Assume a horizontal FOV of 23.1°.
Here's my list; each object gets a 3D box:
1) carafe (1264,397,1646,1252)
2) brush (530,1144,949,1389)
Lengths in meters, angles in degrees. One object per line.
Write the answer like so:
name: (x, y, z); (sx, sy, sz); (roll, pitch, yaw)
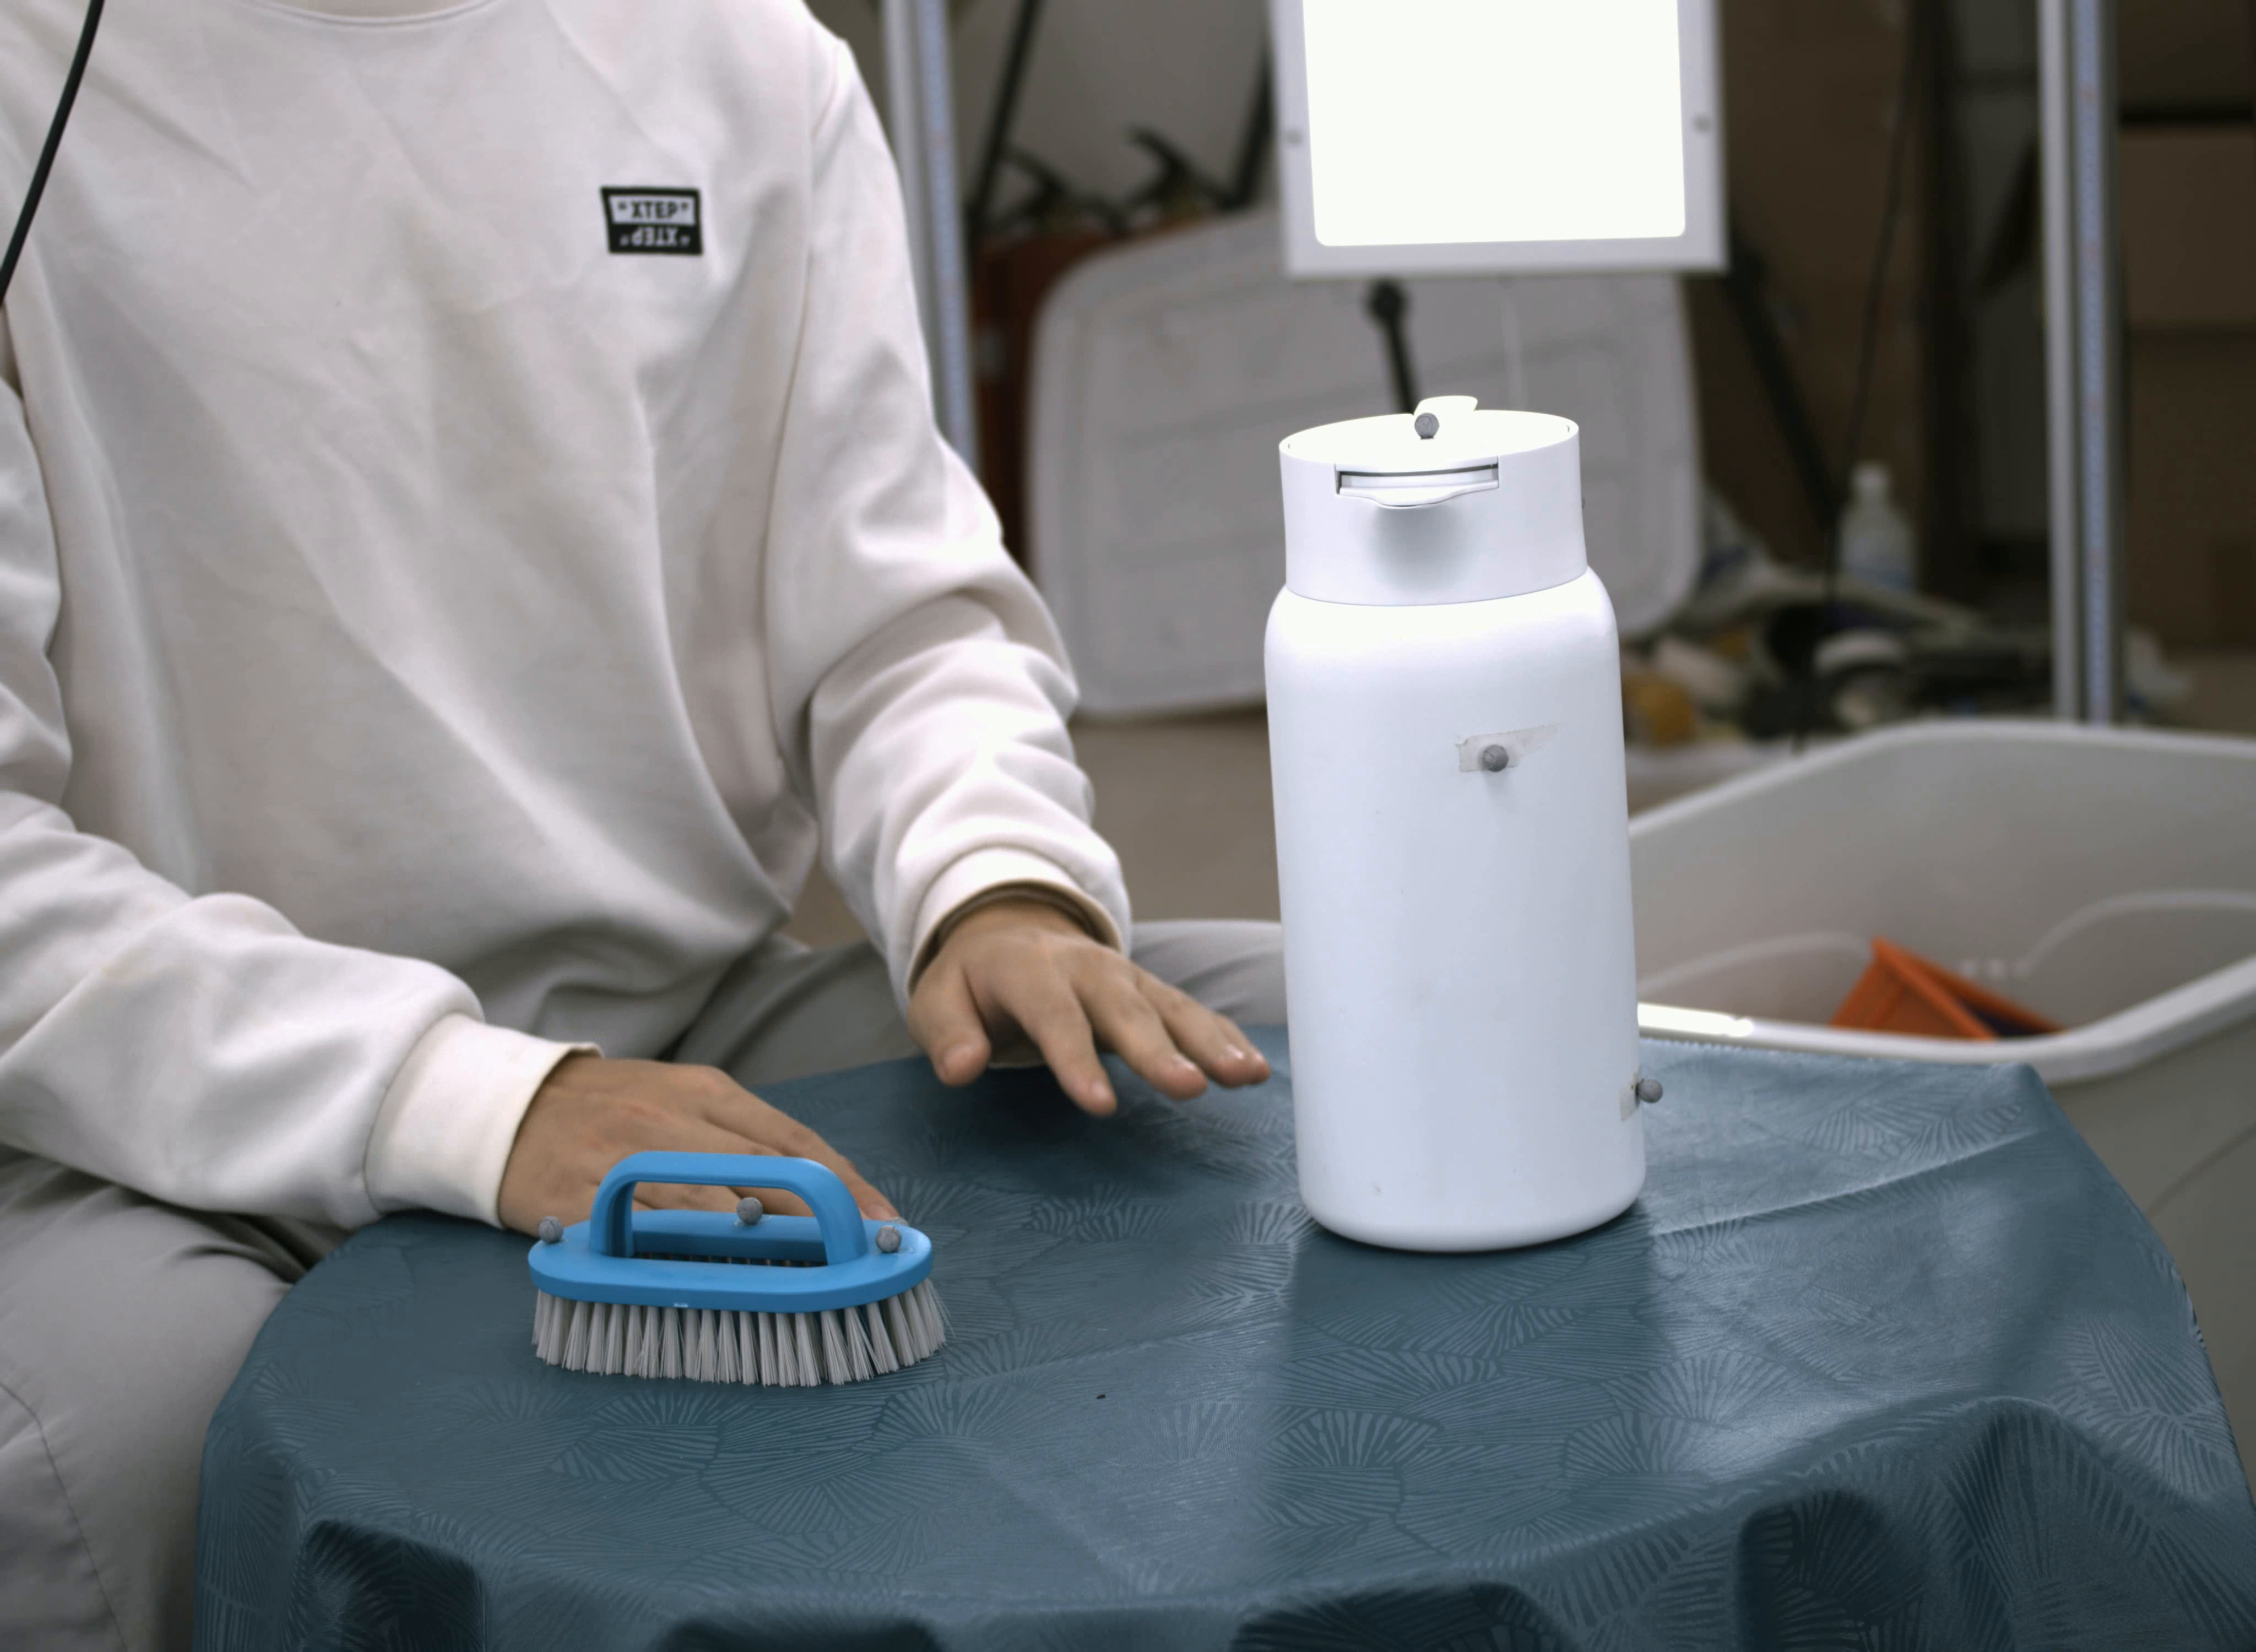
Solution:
carafe: (0.109, -0.005, 1.835); (0.124, 0.270, 0.171); (-4, 13, 10)
brush: (-0.129, 0.134, 1.773); (0.144, 0.064, 0.082); (1, 20, 26)
